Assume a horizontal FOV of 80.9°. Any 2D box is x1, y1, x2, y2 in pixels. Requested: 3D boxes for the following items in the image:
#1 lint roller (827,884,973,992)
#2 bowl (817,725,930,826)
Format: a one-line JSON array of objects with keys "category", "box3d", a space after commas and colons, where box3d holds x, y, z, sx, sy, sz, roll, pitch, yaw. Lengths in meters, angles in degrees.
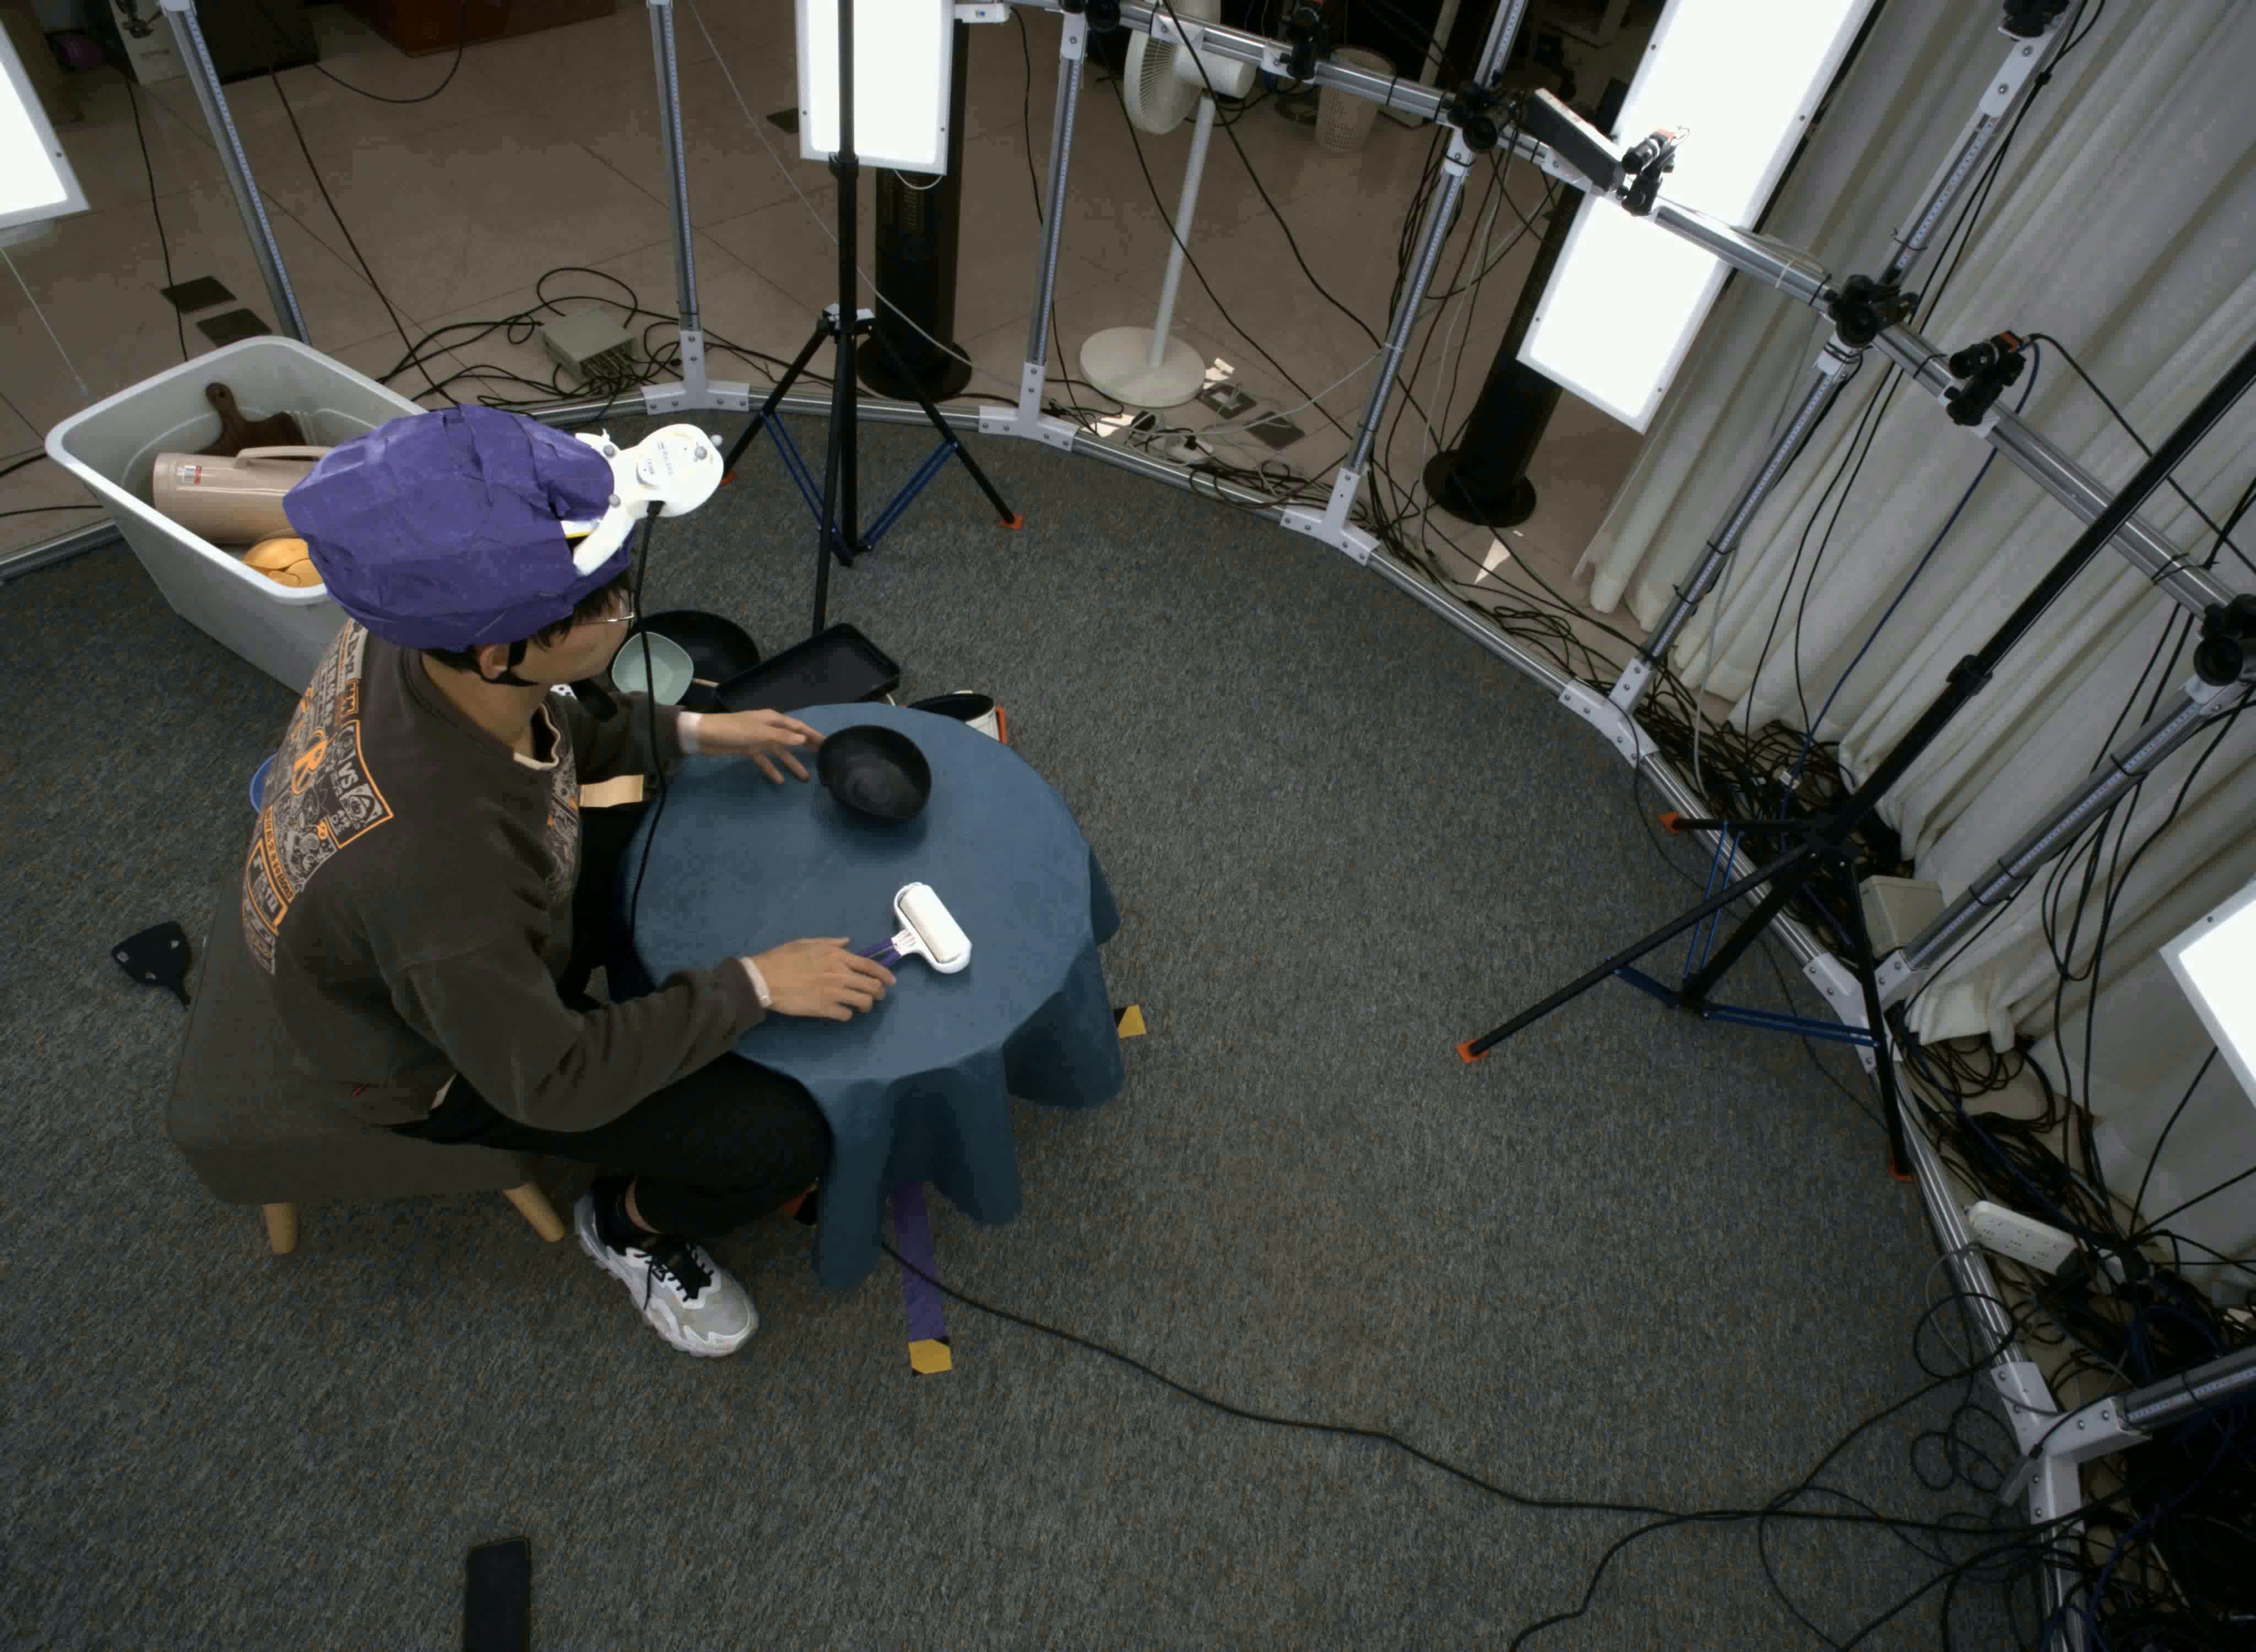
[{"category": "lint roller", "box3d": [-0.297, 0.150, 1.629, 0.182, 0.051, 0.130, -23, 62, -30]}, {"category": "bowl", "box3d": [-0.343, -0.059, 1.761, 0.167, 0.068, 0.137, 38, 56, 13]}]
